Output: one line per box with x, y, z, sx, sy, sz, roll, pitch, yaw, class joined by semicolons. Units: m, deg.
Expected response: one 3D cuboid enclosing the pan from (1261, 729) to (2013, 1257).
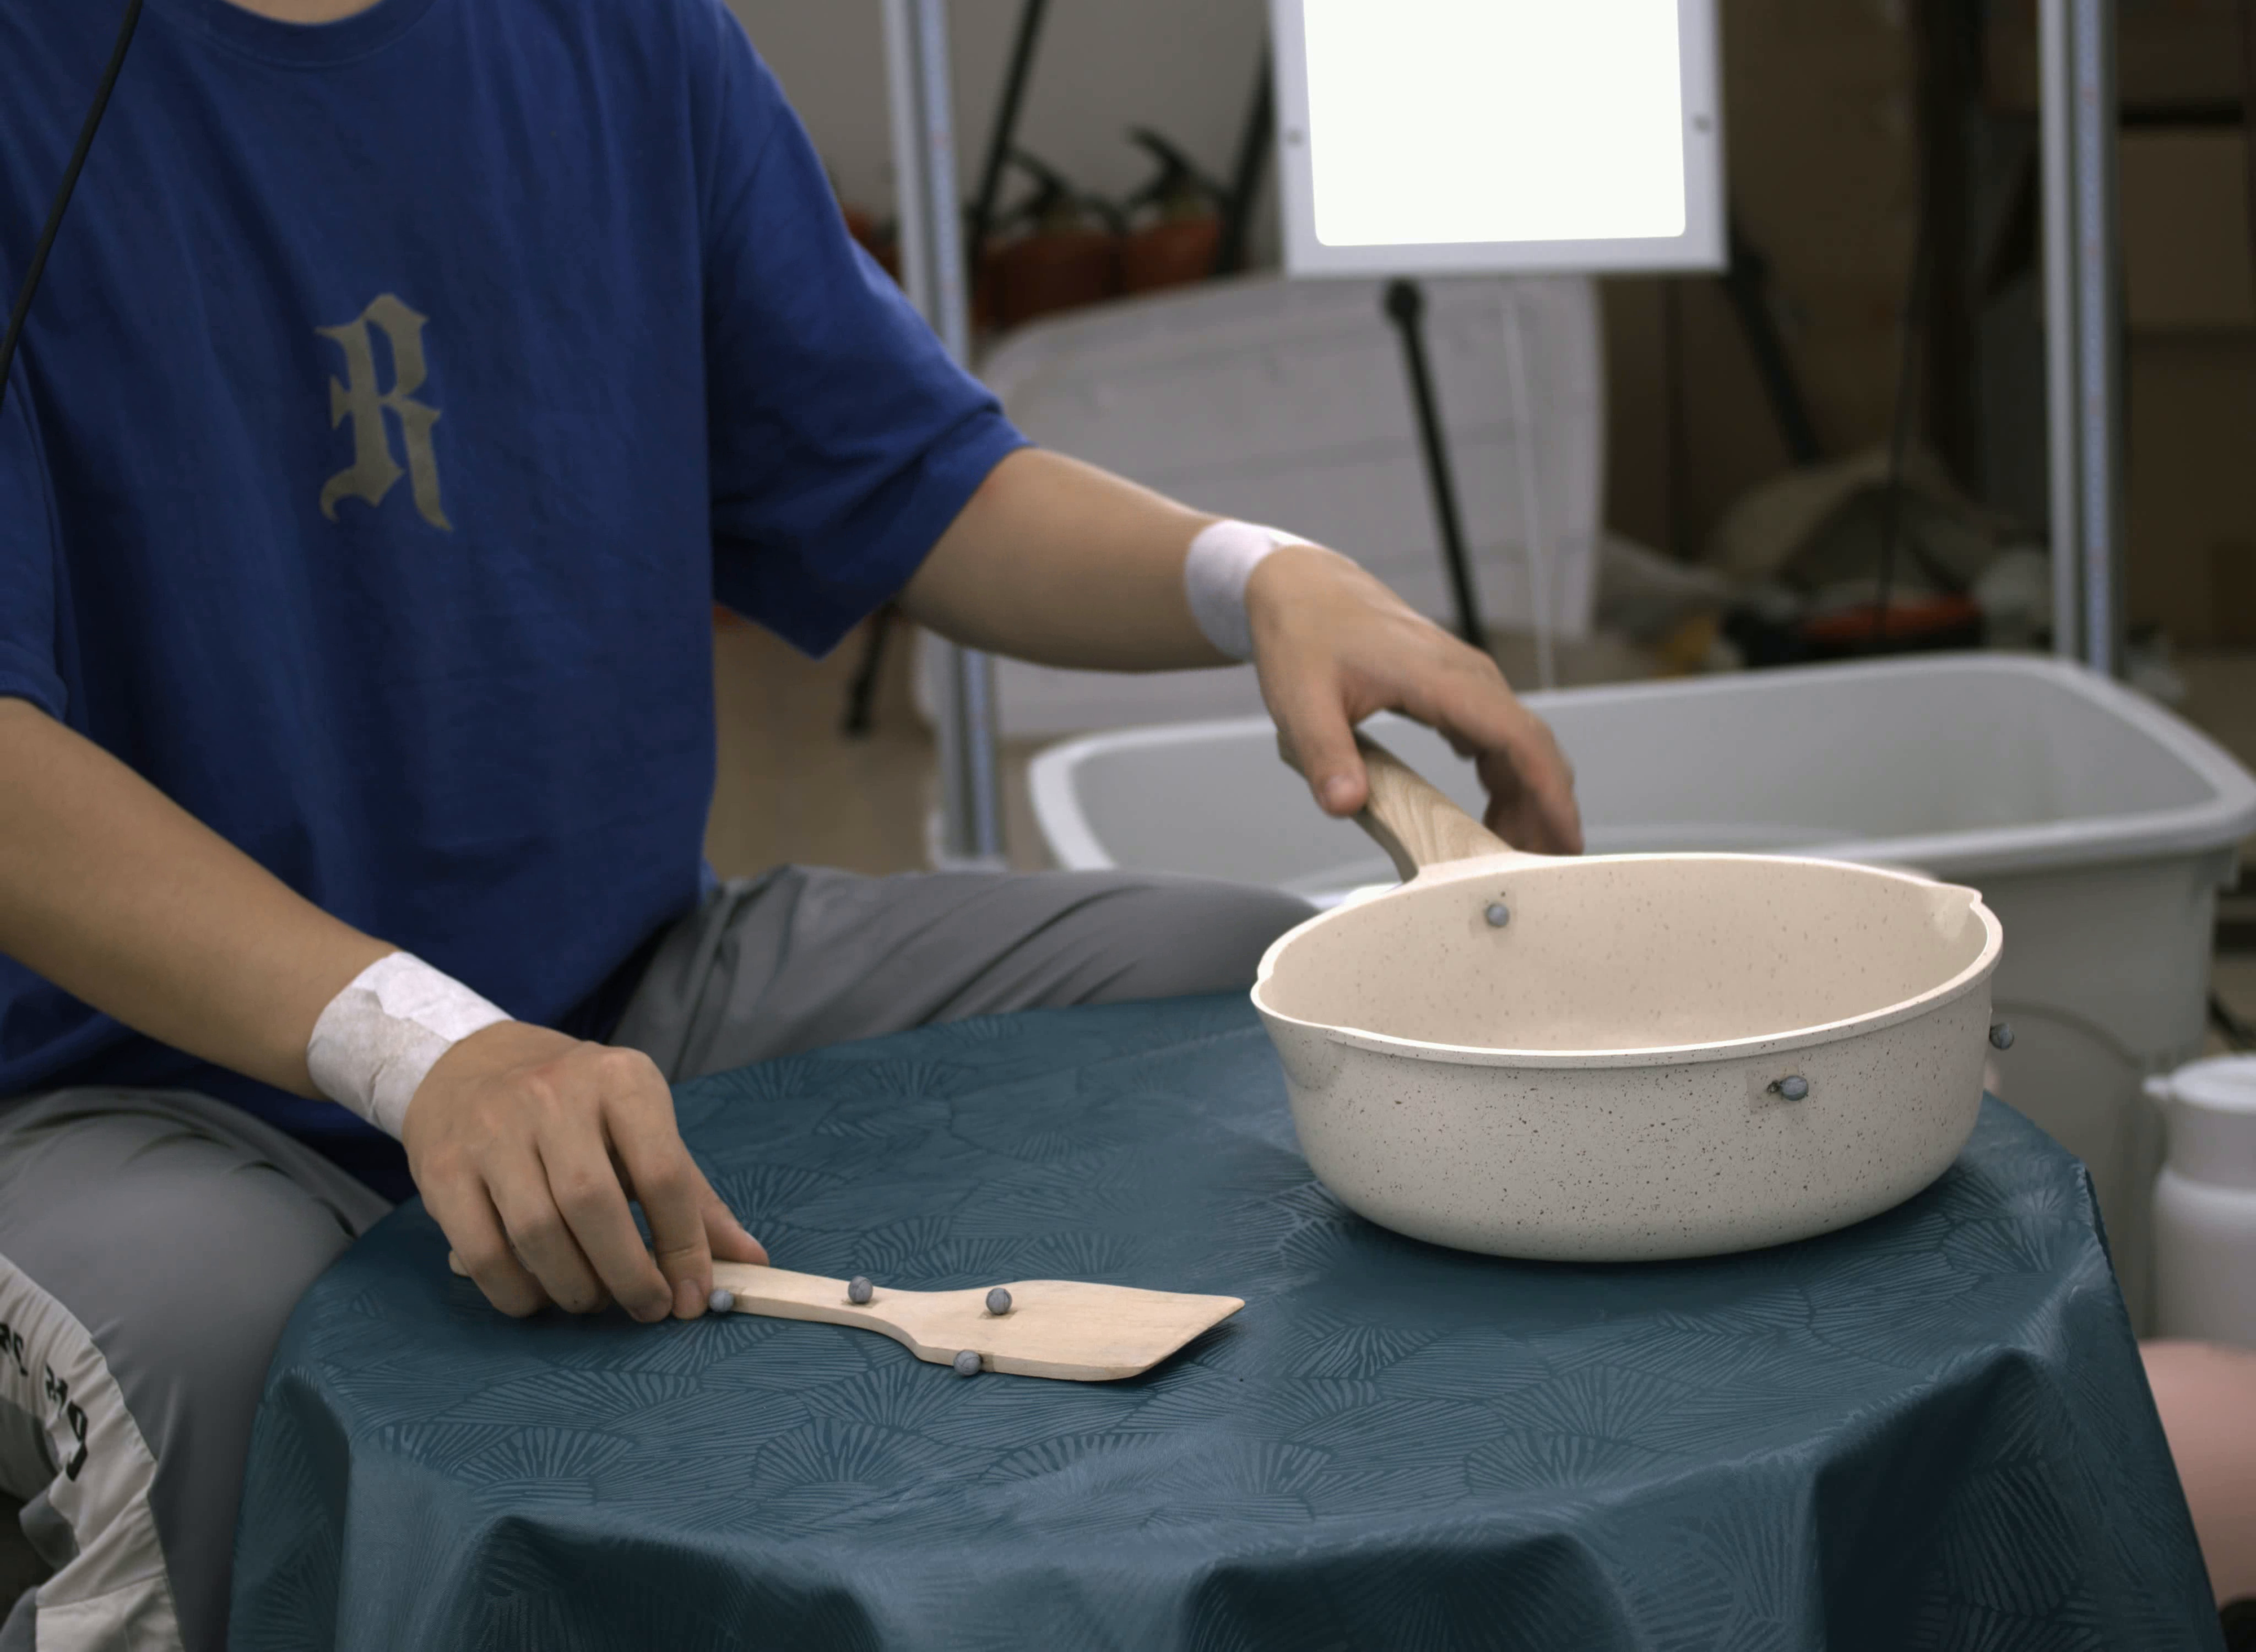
0.145;0.052;1.939;0.259;0.102;0.440;-11;15;-17;pan

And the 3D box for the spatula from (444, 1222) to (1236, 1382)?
-0.105;0.153;1.806;0.299;0.011;0.070;5;18;33;spatula
